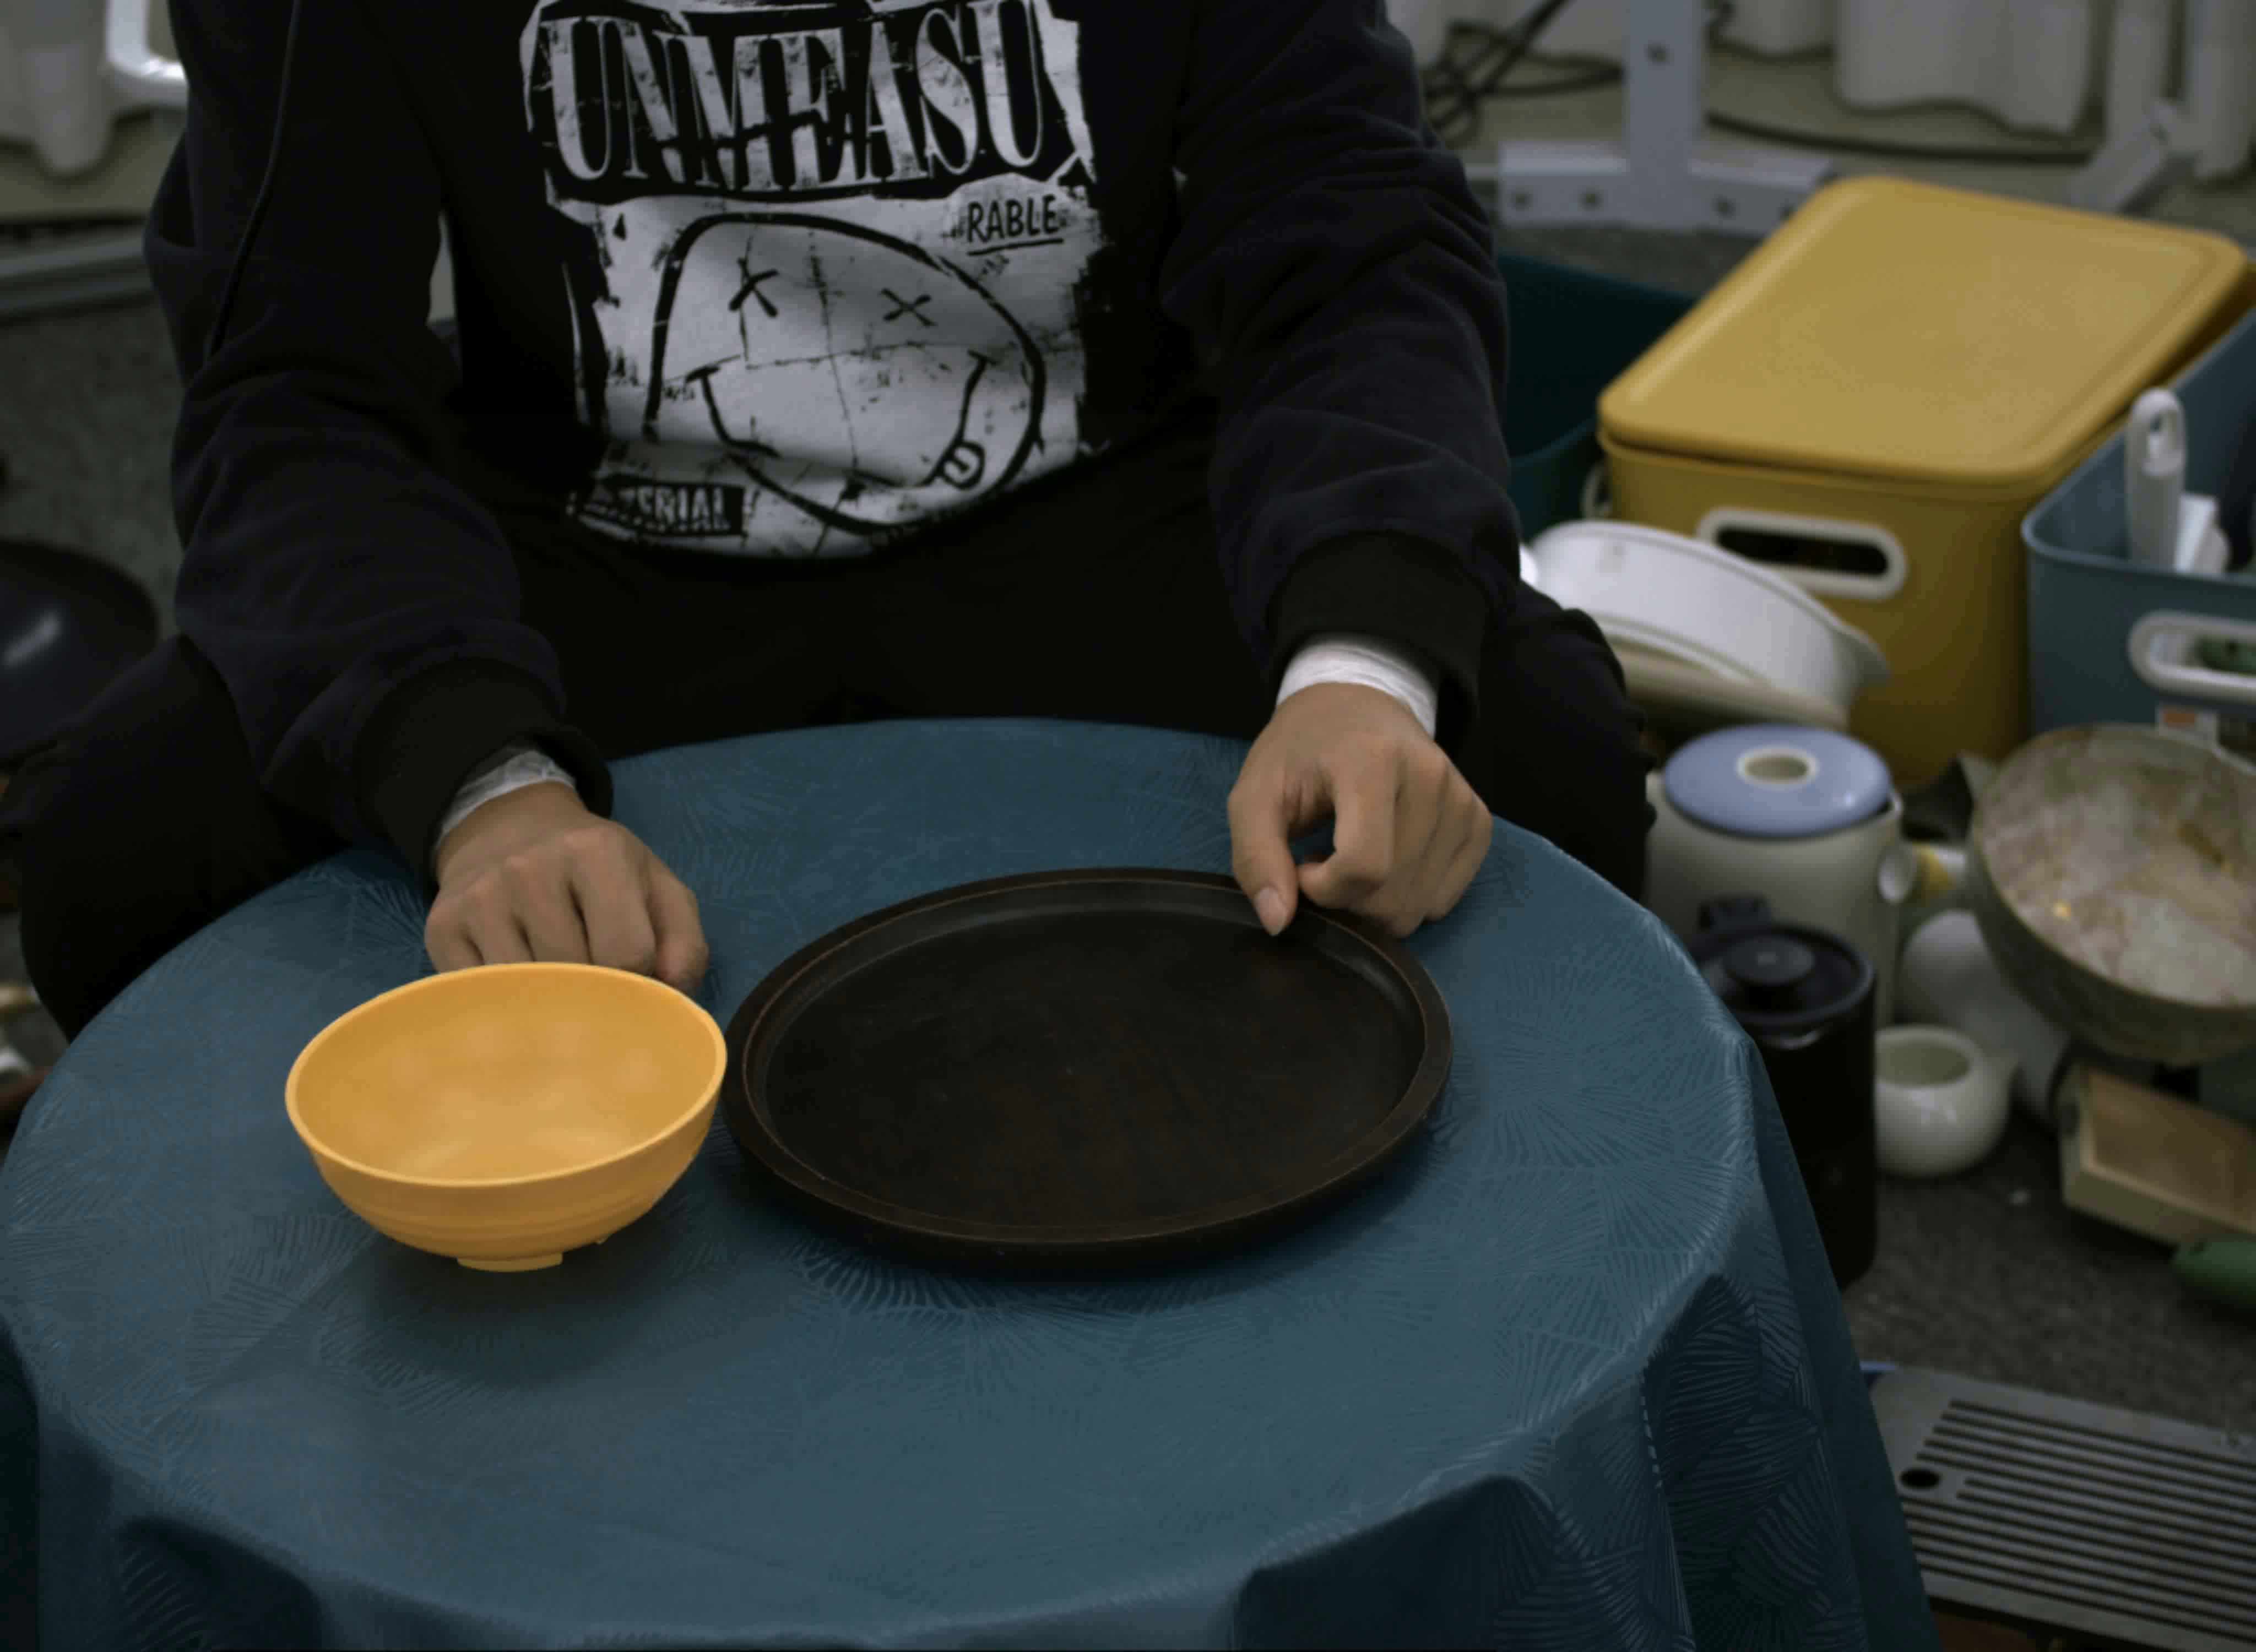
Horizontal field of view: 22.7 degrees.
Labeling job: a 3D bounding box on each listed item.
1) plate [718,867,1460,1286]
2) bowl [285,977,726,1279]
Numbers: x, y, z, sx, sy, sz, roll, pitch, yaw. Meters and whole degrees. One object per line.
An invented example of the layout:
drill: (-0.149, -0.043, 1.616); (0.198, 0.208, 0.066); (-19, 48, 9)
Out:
plate: (-0.013, 0.084, 1.912); (0.253, 0.029, 0.258); (-4, 27, 2)
bowl: (-0.203, 0.108, 1.849); (0.144, 0.059, 0.147); (-1, 25, 1)
